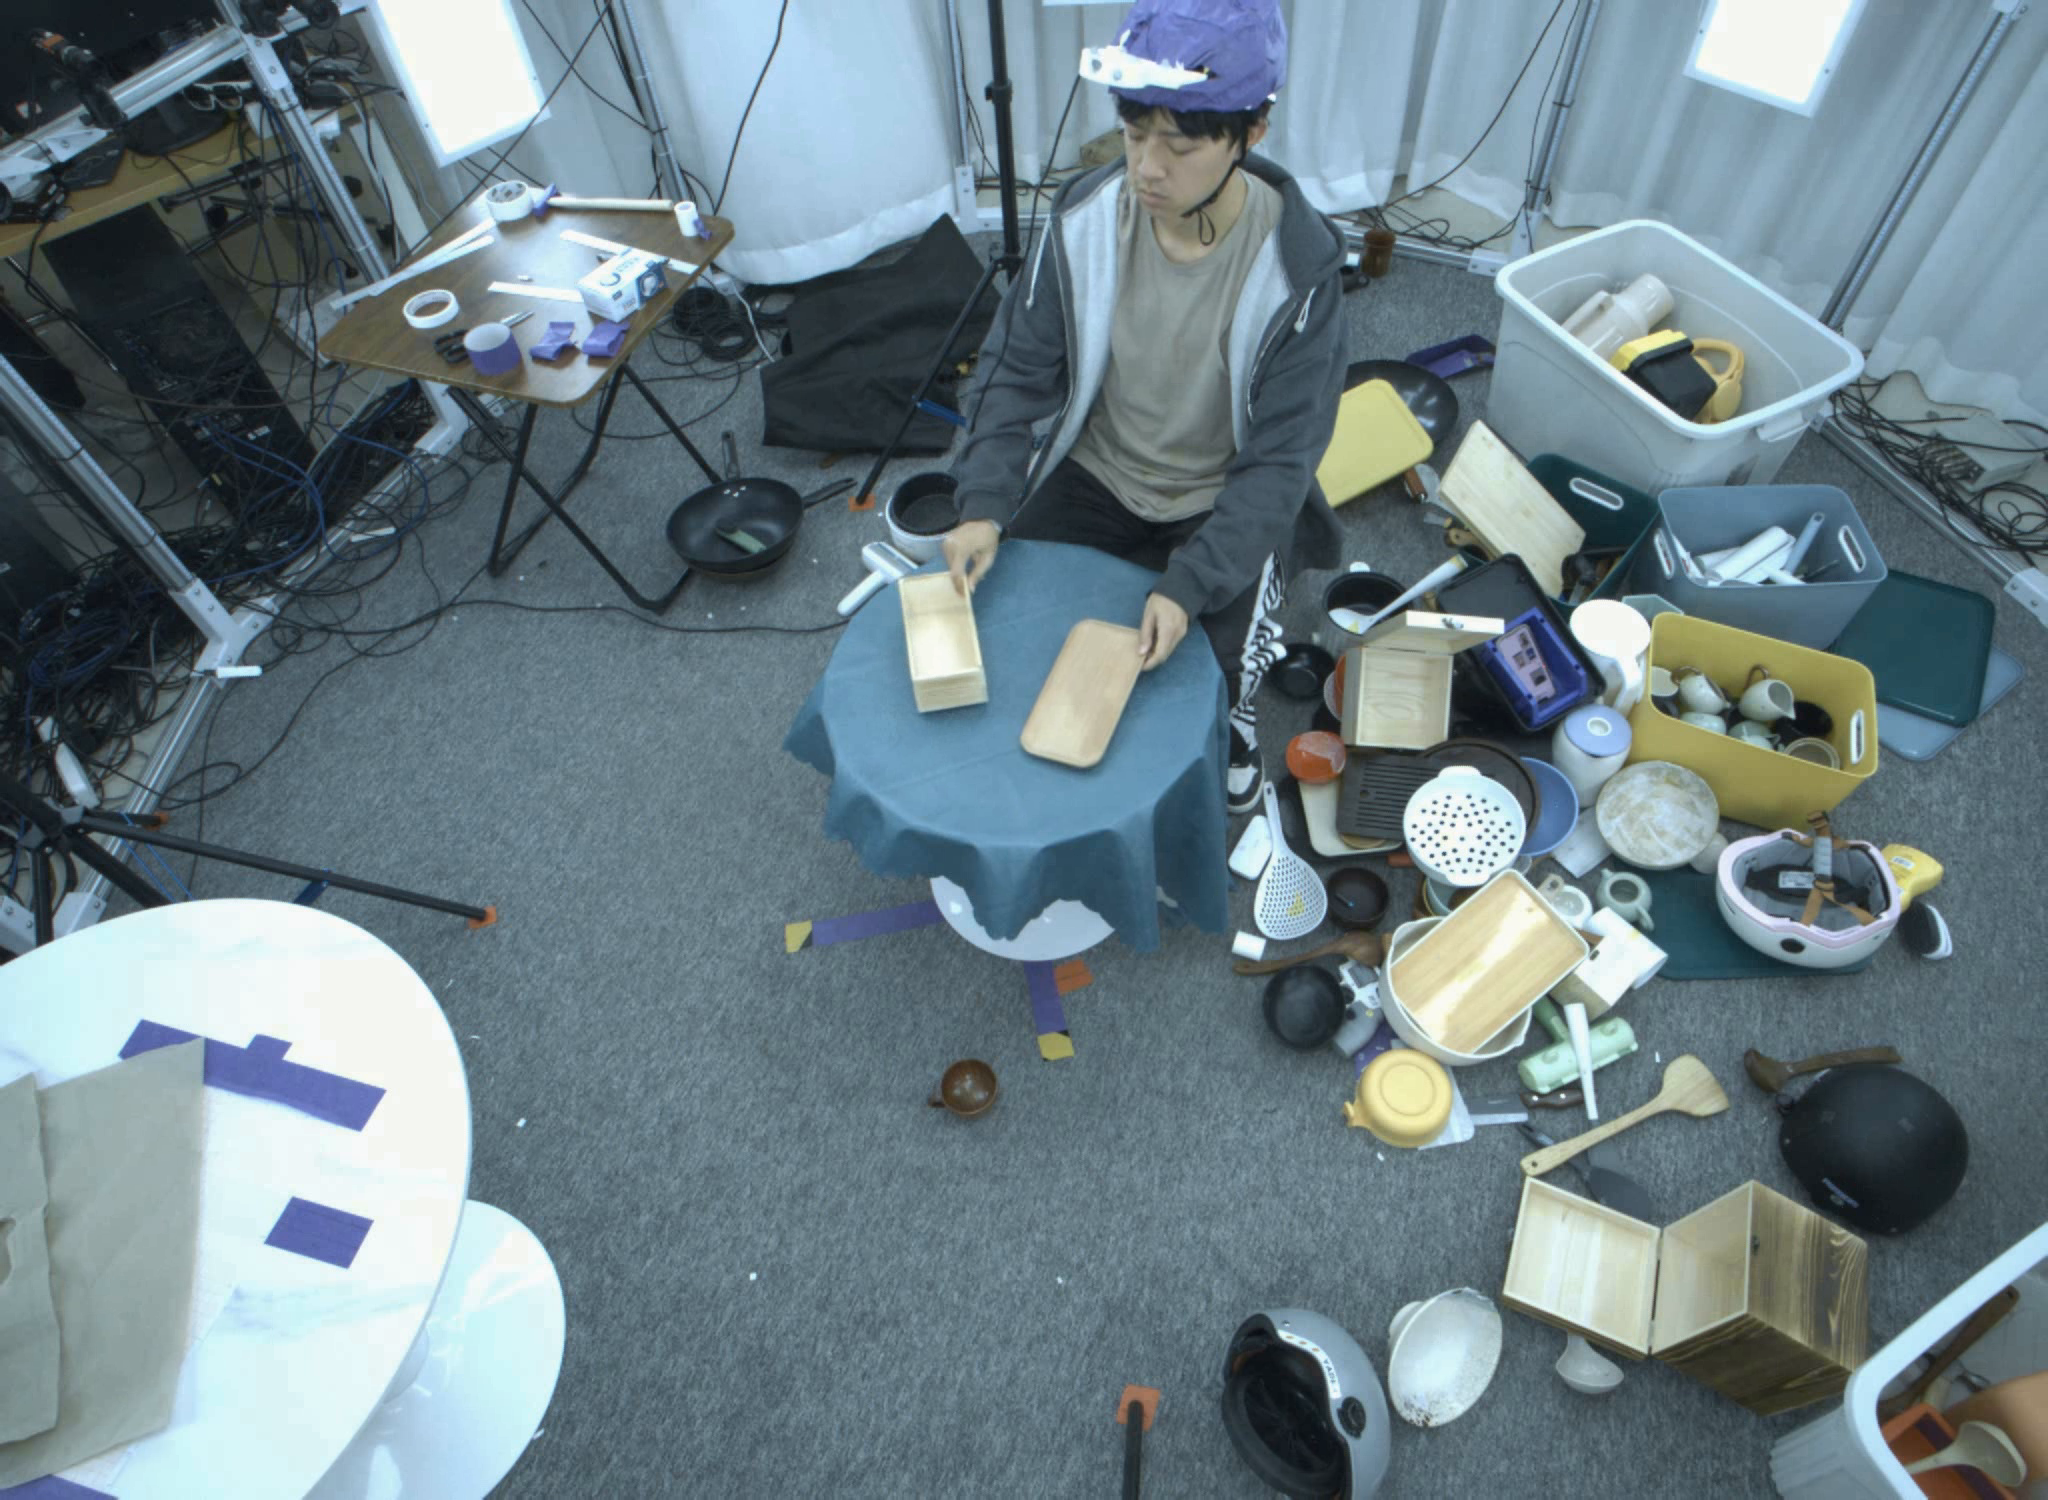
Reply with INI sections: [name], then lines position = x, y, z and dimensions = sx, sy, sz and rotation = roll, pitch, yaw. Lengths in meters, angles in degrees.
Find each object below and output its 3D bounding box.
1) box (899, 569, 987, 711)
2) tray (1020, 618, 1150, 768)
[box]
position = -0.125, -0.169, 1.859
dimensions = 0.108, 0.081, 0.208
rotation = -9, 52, -4
[tray]
position = 0.092, -0.087, 1.818
dimensions = 0.129, 0.023, 0.250
rotation = 18, 63, 15
